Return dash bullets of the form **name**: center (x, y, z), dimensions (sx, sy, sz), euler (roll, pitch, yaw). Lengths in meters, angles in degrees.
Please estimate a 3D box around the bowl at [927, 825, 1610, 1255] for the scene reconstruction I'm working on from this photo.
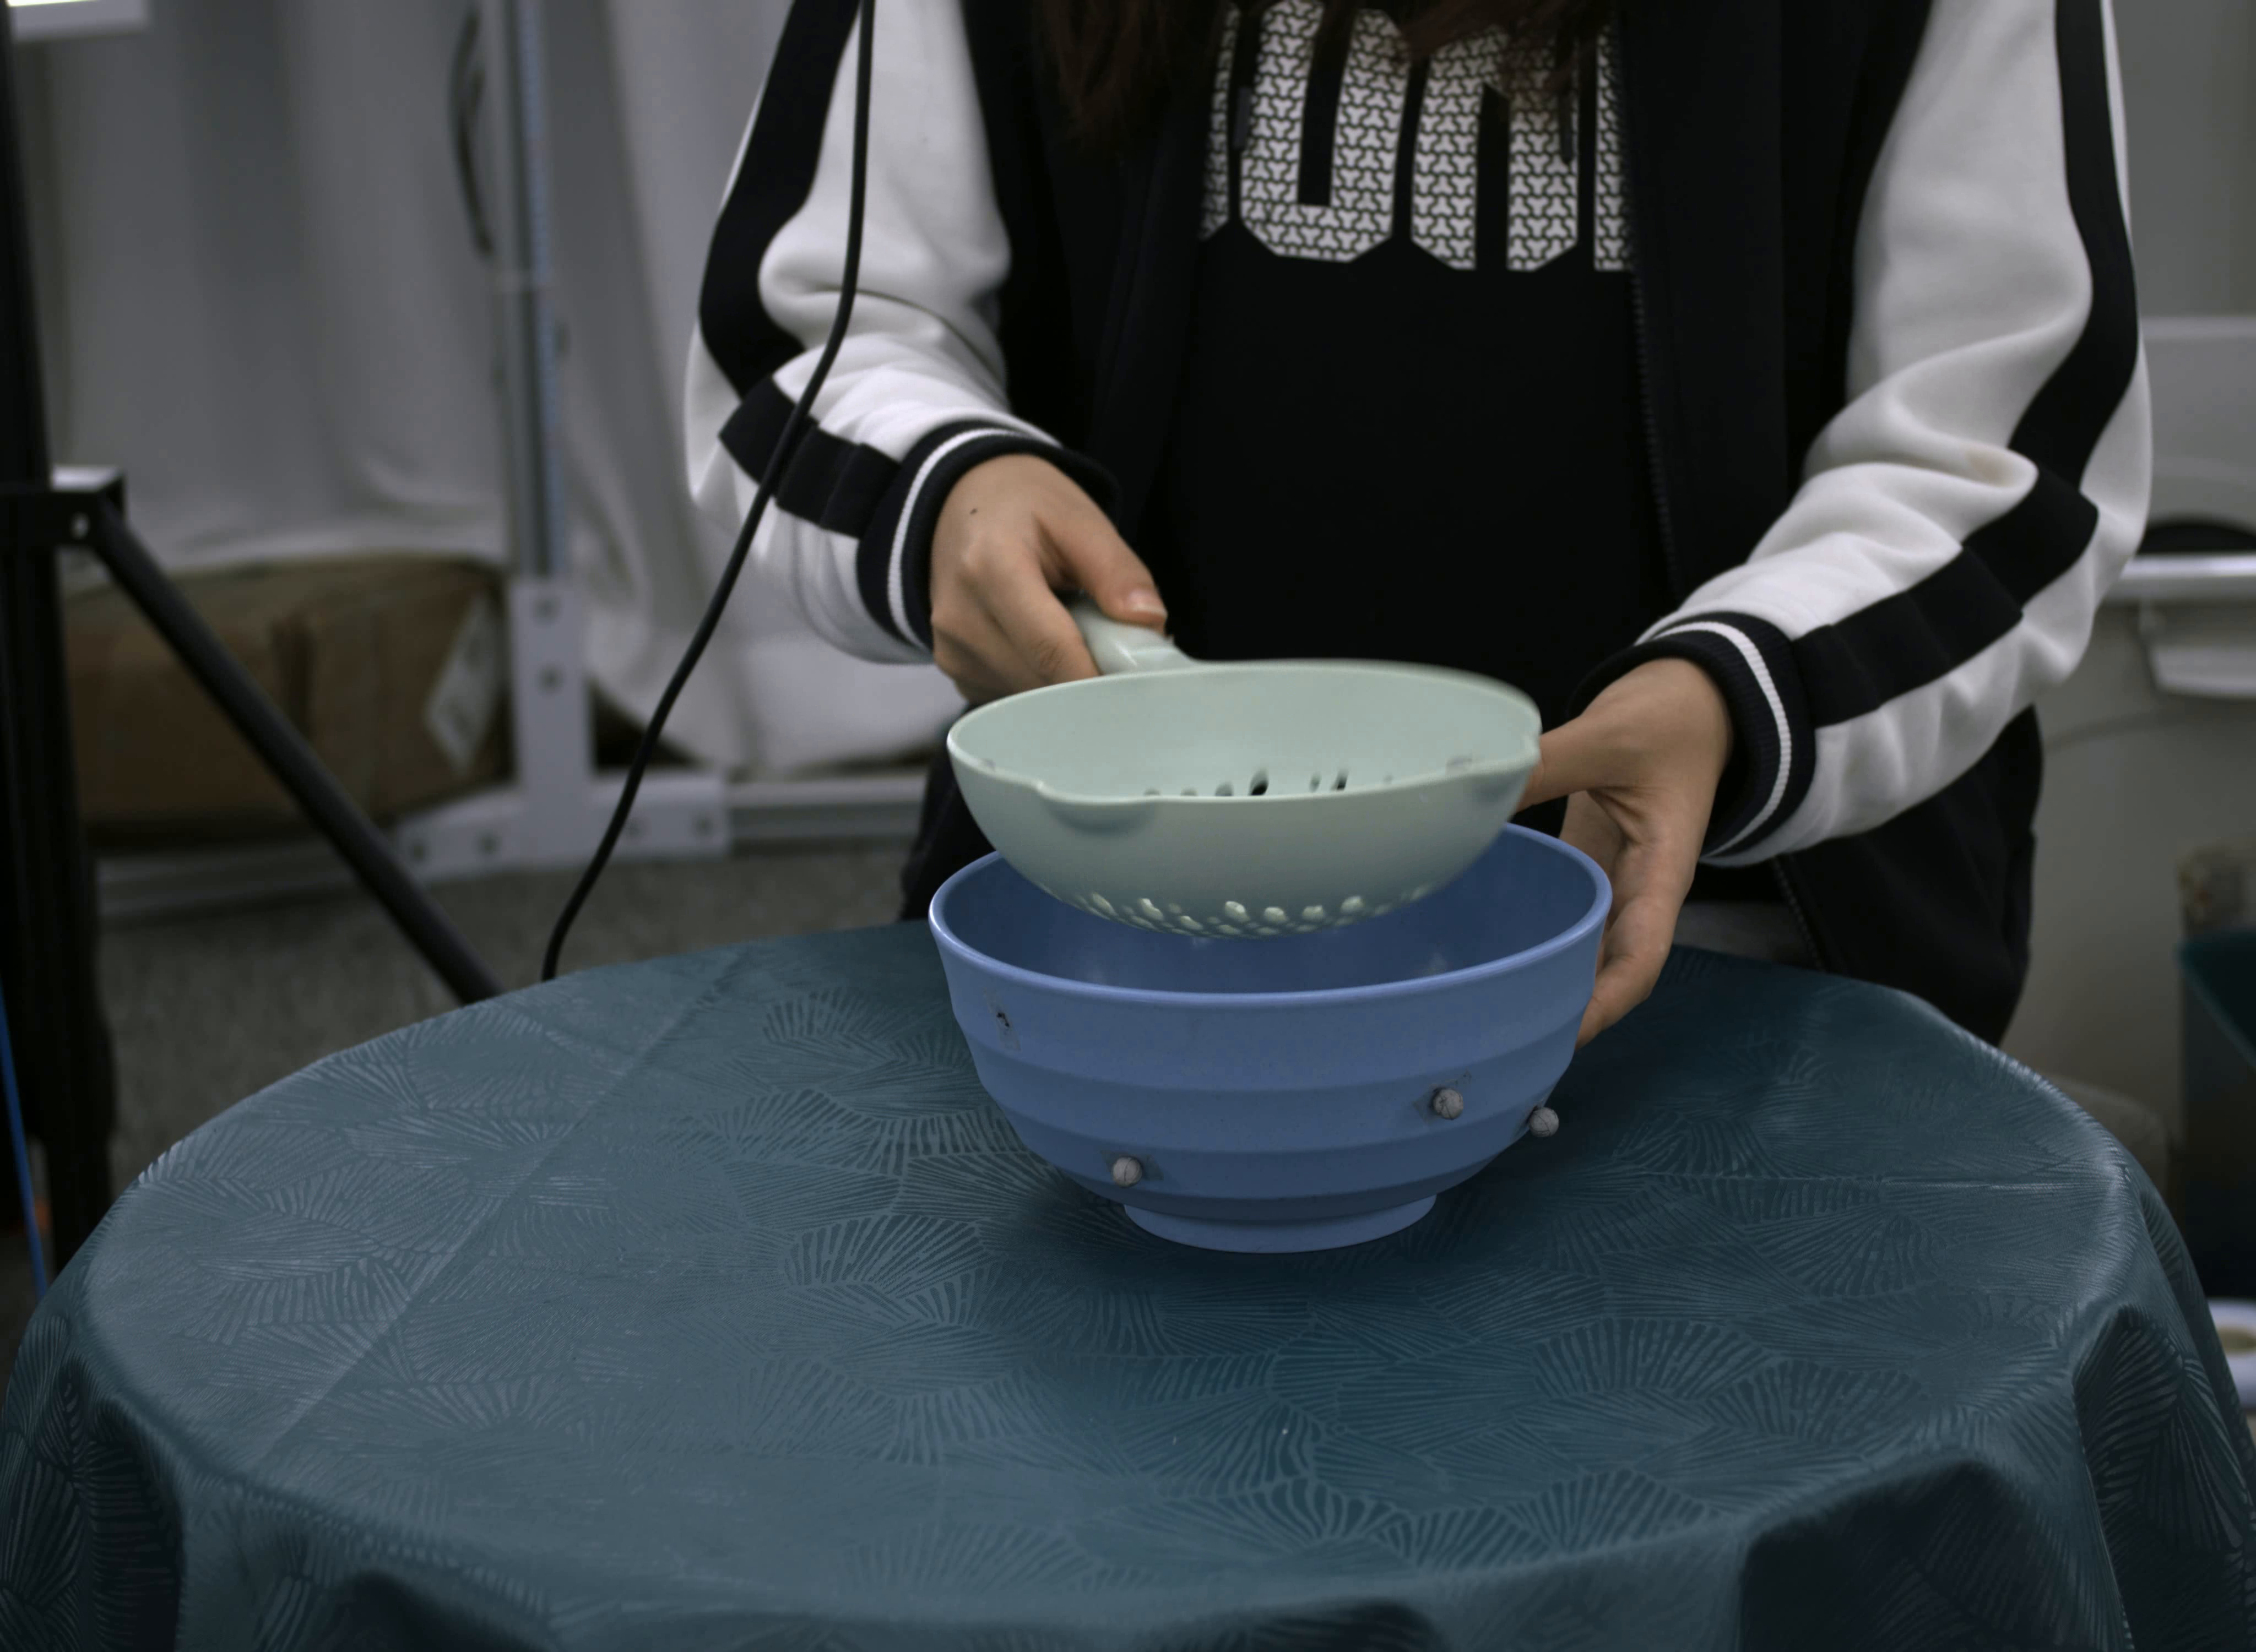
- **bowl**: center (0.042, 0.064, 1.532), dimensions (0.195, 0.095, 0.197), euler (-3, 15, -1)

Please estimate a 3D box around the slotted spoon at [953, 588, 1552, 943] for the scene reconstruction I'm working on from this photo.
- **slotted spoon**: center (0.011, -0.034, 1.601), dimensions (0.167, 0.075, 0.364), euler (-1, 19, -13)
